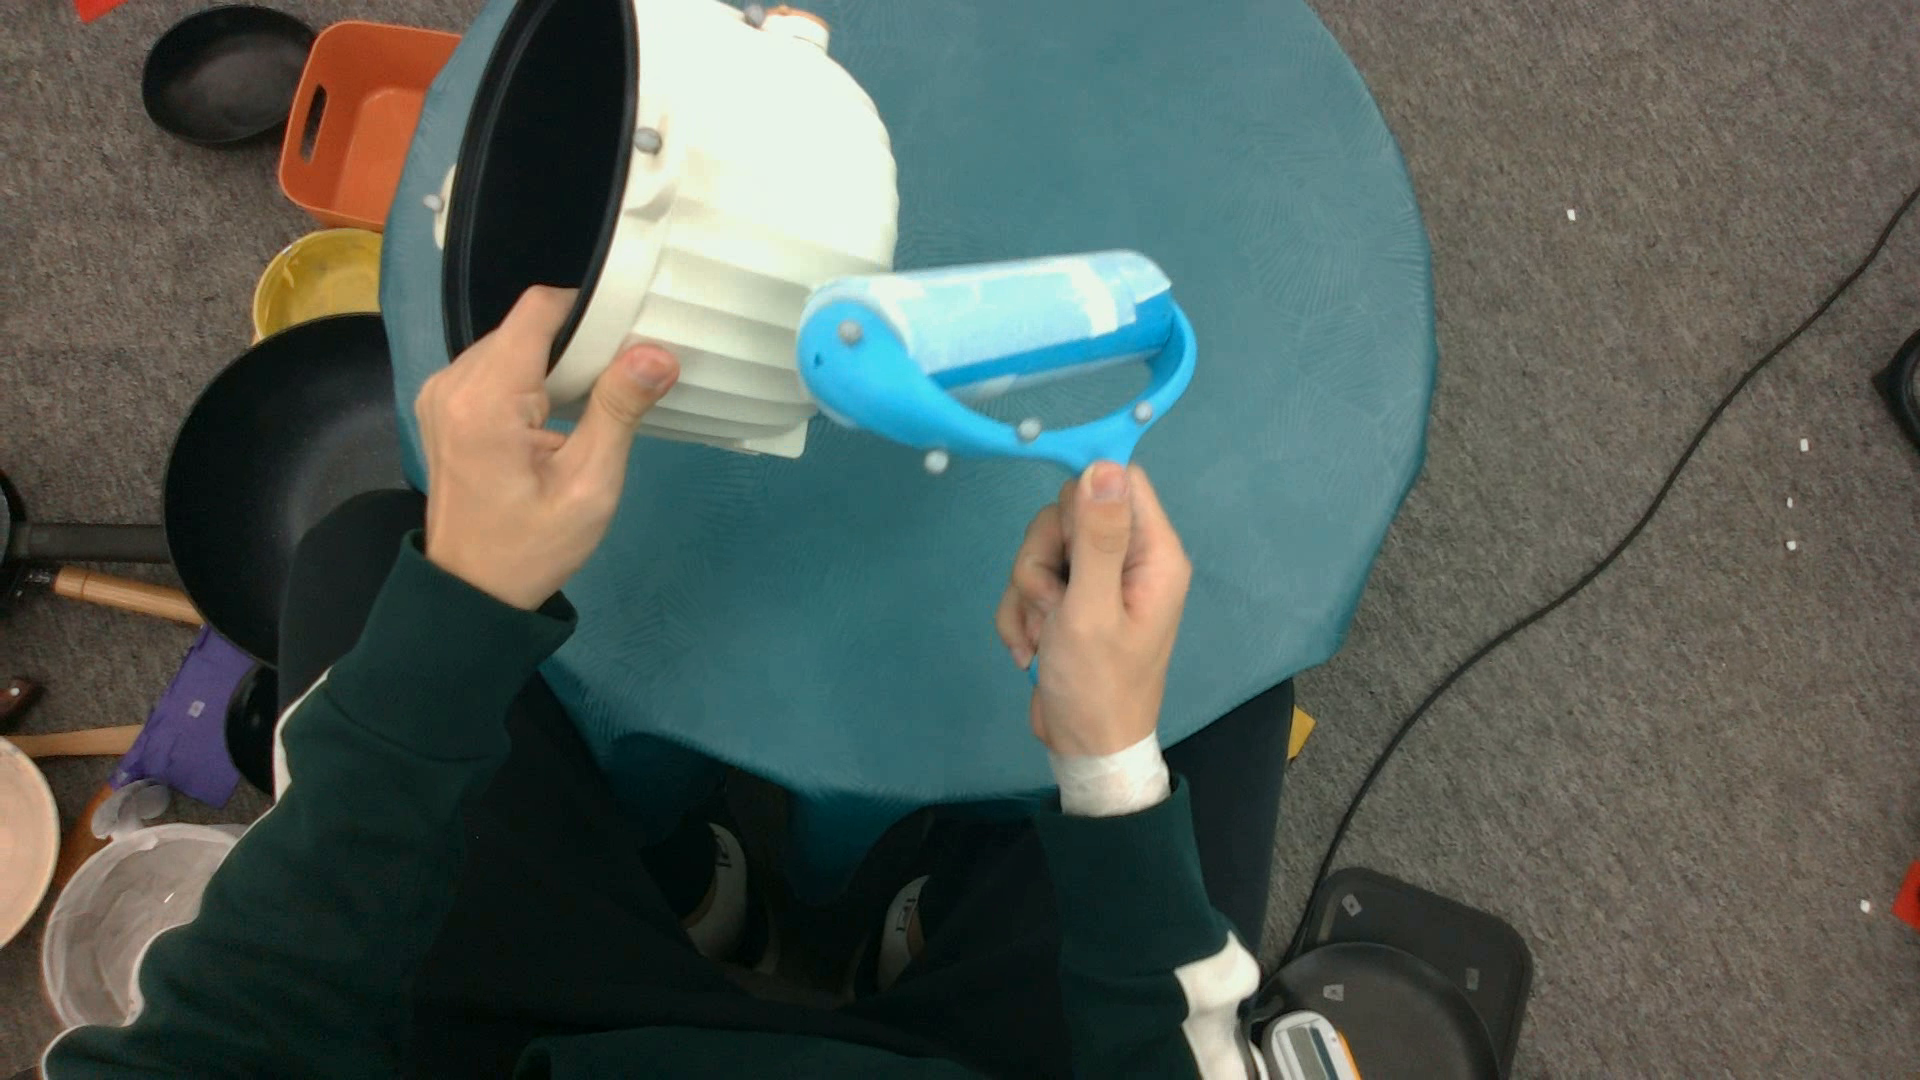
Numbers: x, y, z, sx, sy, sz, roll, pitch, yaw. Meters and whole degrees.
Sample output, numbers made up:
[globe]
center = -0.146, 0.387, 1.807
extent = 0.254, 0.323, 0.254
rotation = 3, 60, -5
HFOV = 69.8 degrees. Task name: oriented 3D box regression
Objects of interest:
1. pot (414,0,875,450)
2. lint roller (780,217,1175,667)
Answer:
[pot]
center = -0.128, -0.138, 0.584
extent = 0.143, 0.240, 0.190
rotation = 5, 90, -41
[lint roller]
center = 0.029, -0.038, 0.556
extent = 0.230, 0.067, 0.180
rotation = -28, 104, -54
